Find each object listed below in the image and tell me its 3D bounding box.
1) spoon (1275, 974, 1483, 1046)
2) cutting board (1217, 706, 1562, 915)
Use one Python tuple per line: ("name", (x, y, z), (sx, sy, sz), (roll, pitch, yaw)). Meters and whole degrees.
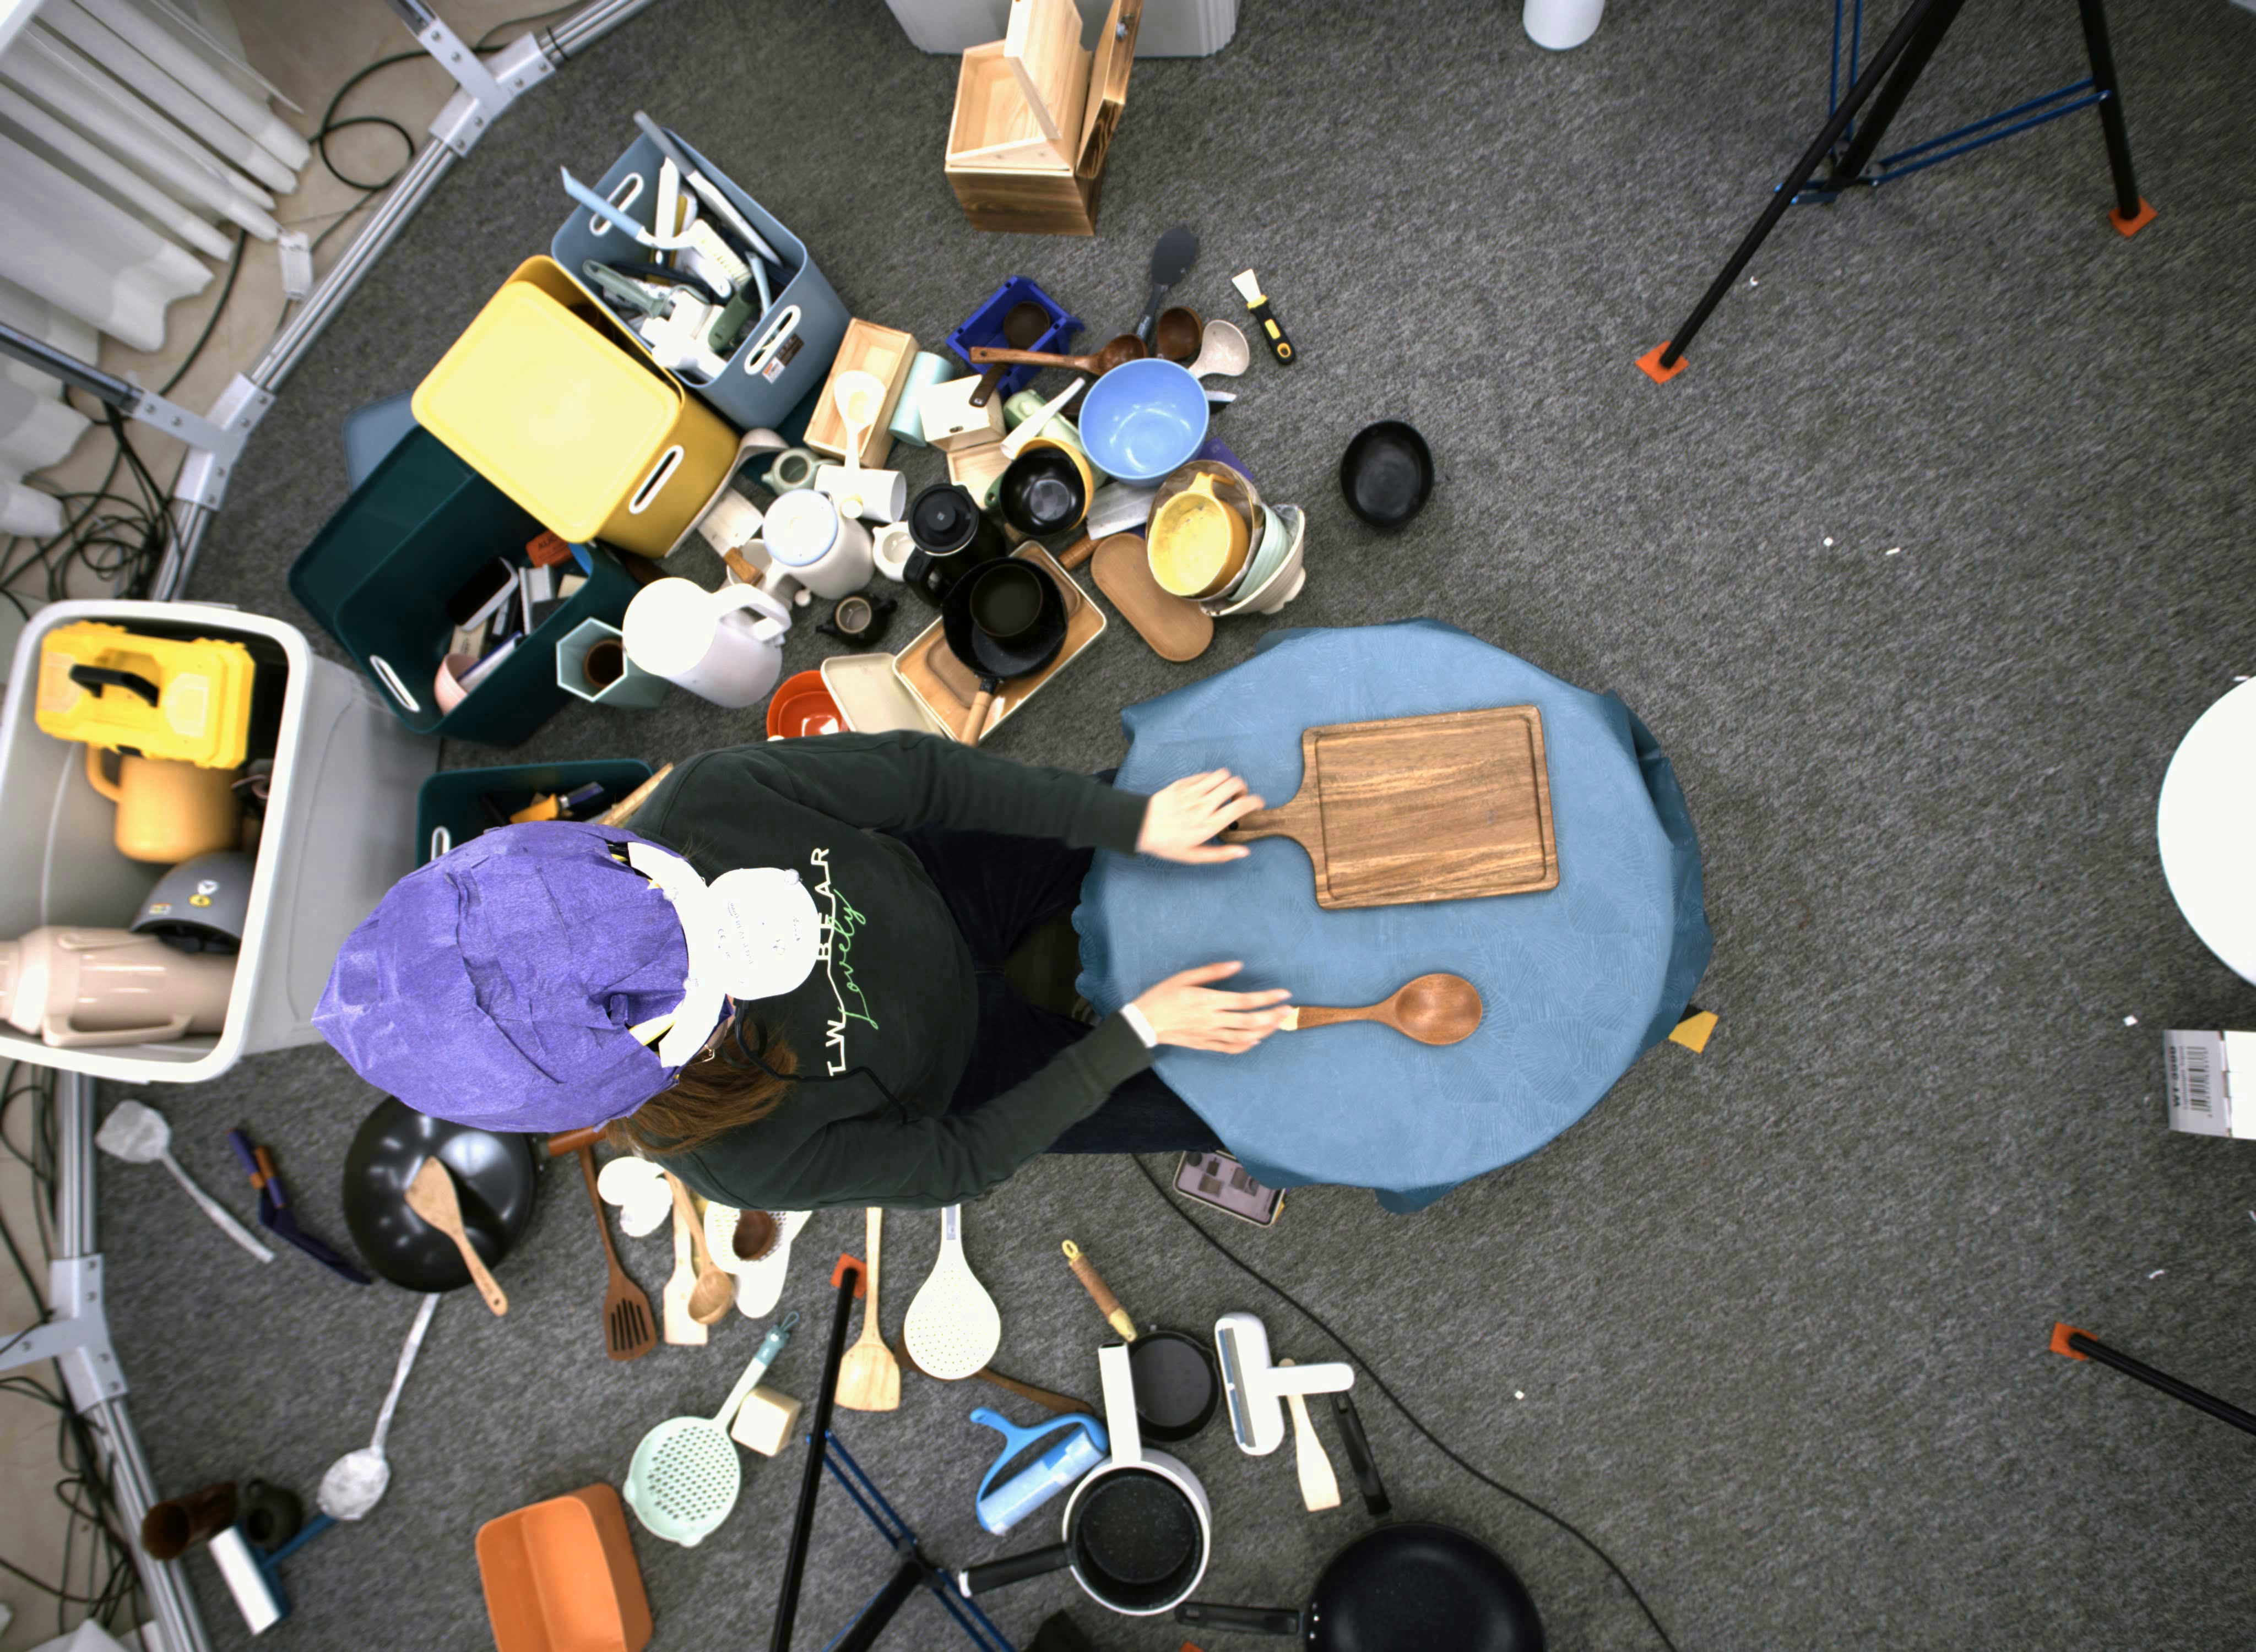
("spoon", (0.262, 0.196, 1.449), (0.217, 0.017, 0.075), (-5, 87, 9))
("cutting board", (0.270, -0.013, 1.462), (0.354, 0.023, 0.200), (-6, 86, 10))
